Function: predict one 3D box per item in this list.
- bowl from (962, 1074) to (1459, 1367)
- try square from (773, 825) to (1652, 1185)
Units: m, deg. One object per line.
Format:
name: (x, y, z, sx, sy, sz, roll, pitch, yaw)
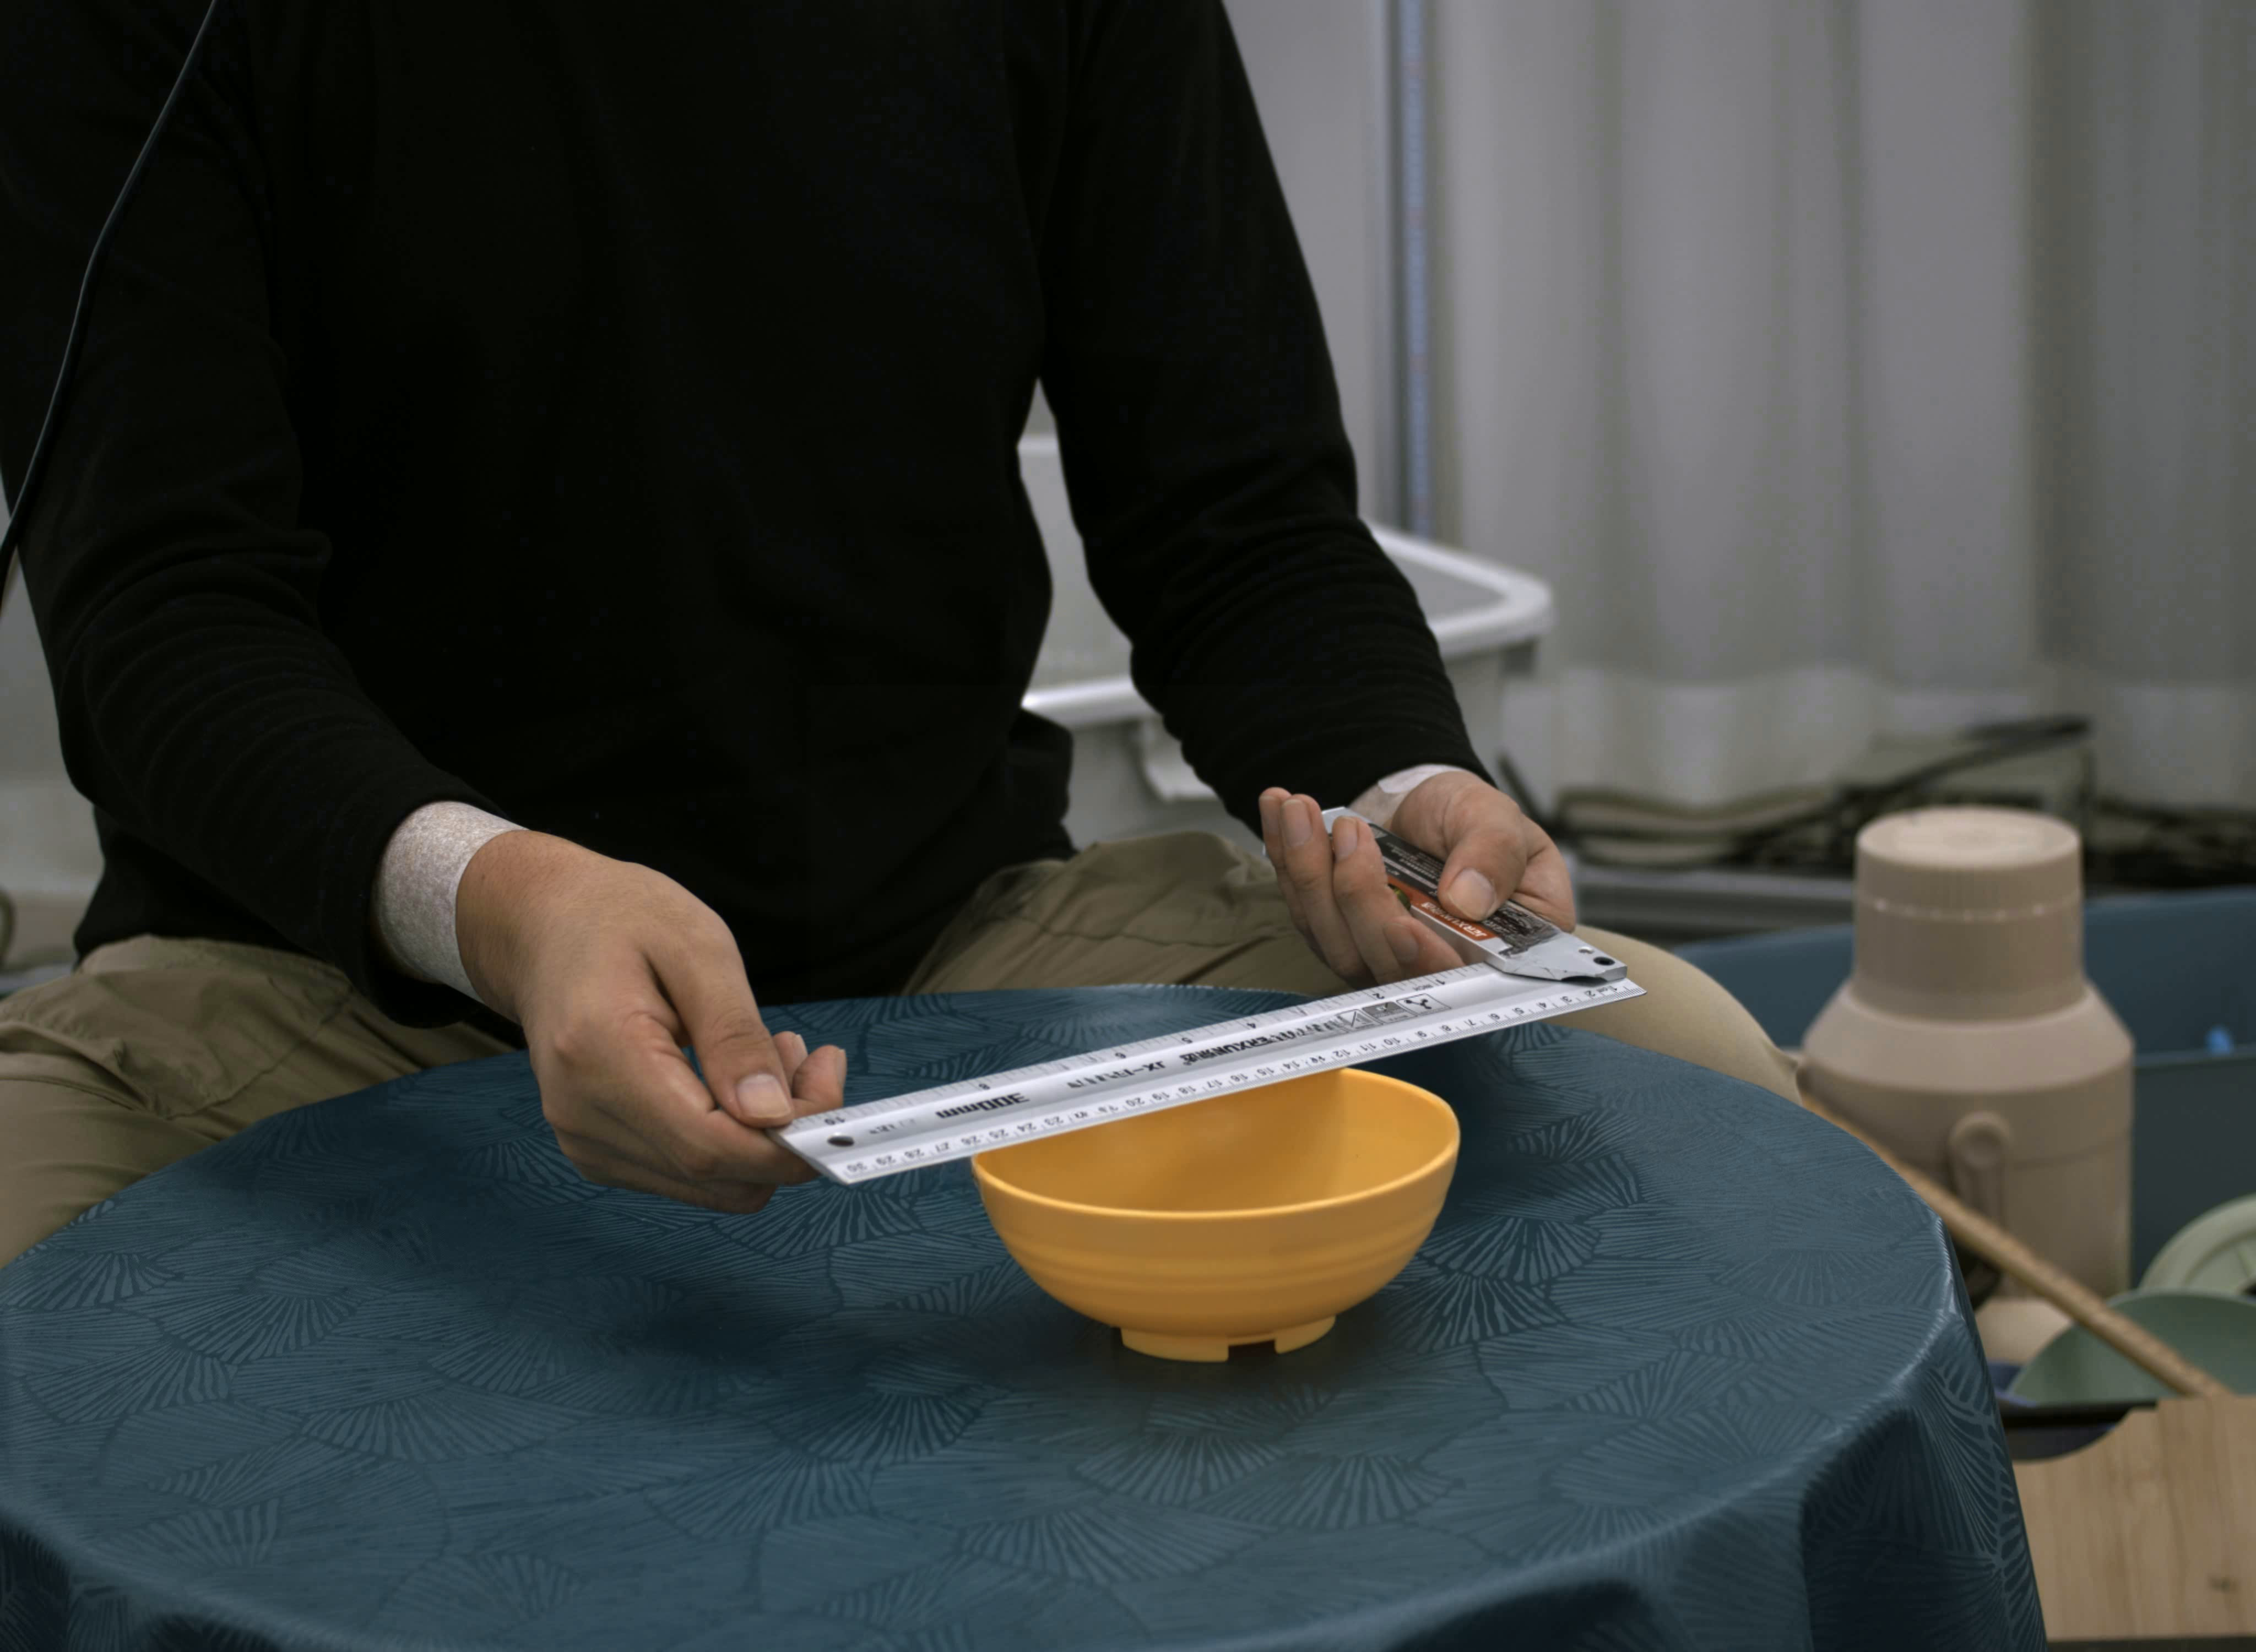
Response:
bowl: (0.024, 0.118, 1.586, 0.145, 0.060, 0.146, -1, 12, 0)
try square: (-0.001, 0.052, 1.673, 0.312, 0.016, 0.153, -11, 25, -37)
